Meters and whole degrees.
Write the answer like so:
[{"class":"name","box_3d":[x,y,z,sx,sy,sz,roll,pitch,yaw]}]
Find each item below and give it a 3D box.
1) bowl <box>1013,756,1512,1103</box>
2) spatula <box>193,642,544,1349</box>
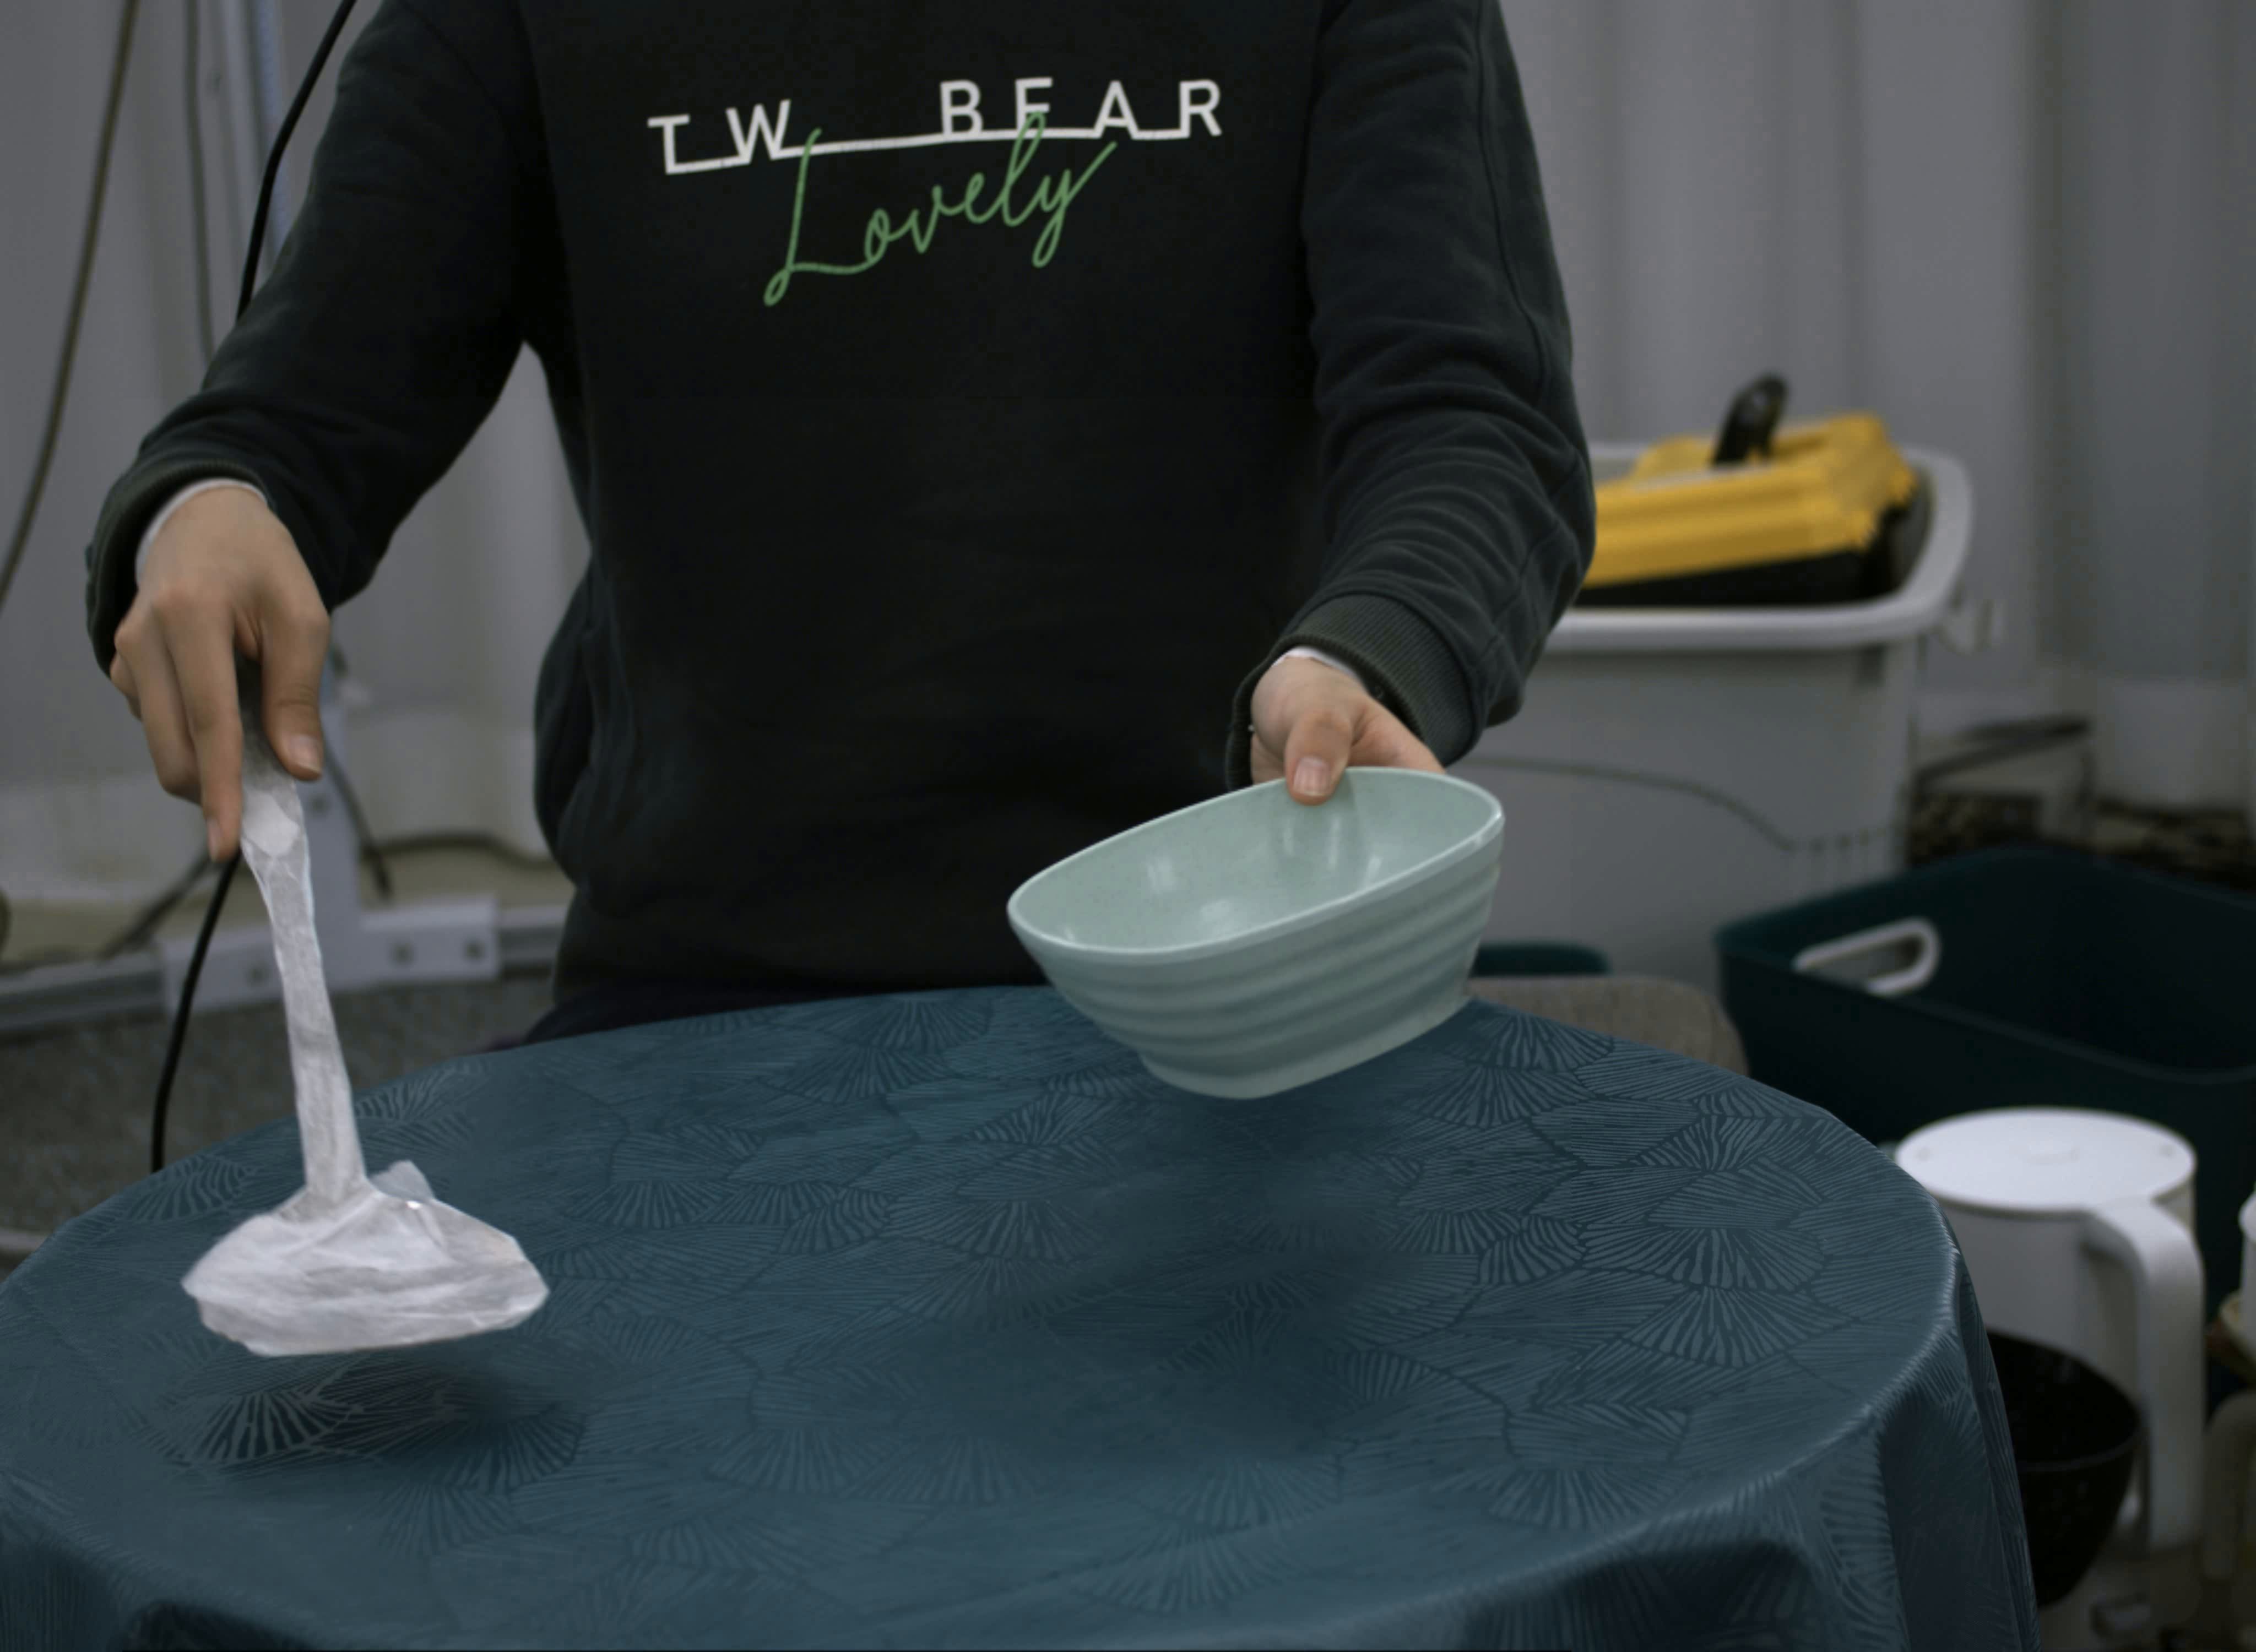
[{"class":"bowl","box_3d":[0.044,0.034,1.594,0.151,0.058,0.153,-14,18,4]},{"class":"spatula","box_3d":[-0.247,0.041,1.658,0.098,0.044,0.370,-4,41,-13]}]
